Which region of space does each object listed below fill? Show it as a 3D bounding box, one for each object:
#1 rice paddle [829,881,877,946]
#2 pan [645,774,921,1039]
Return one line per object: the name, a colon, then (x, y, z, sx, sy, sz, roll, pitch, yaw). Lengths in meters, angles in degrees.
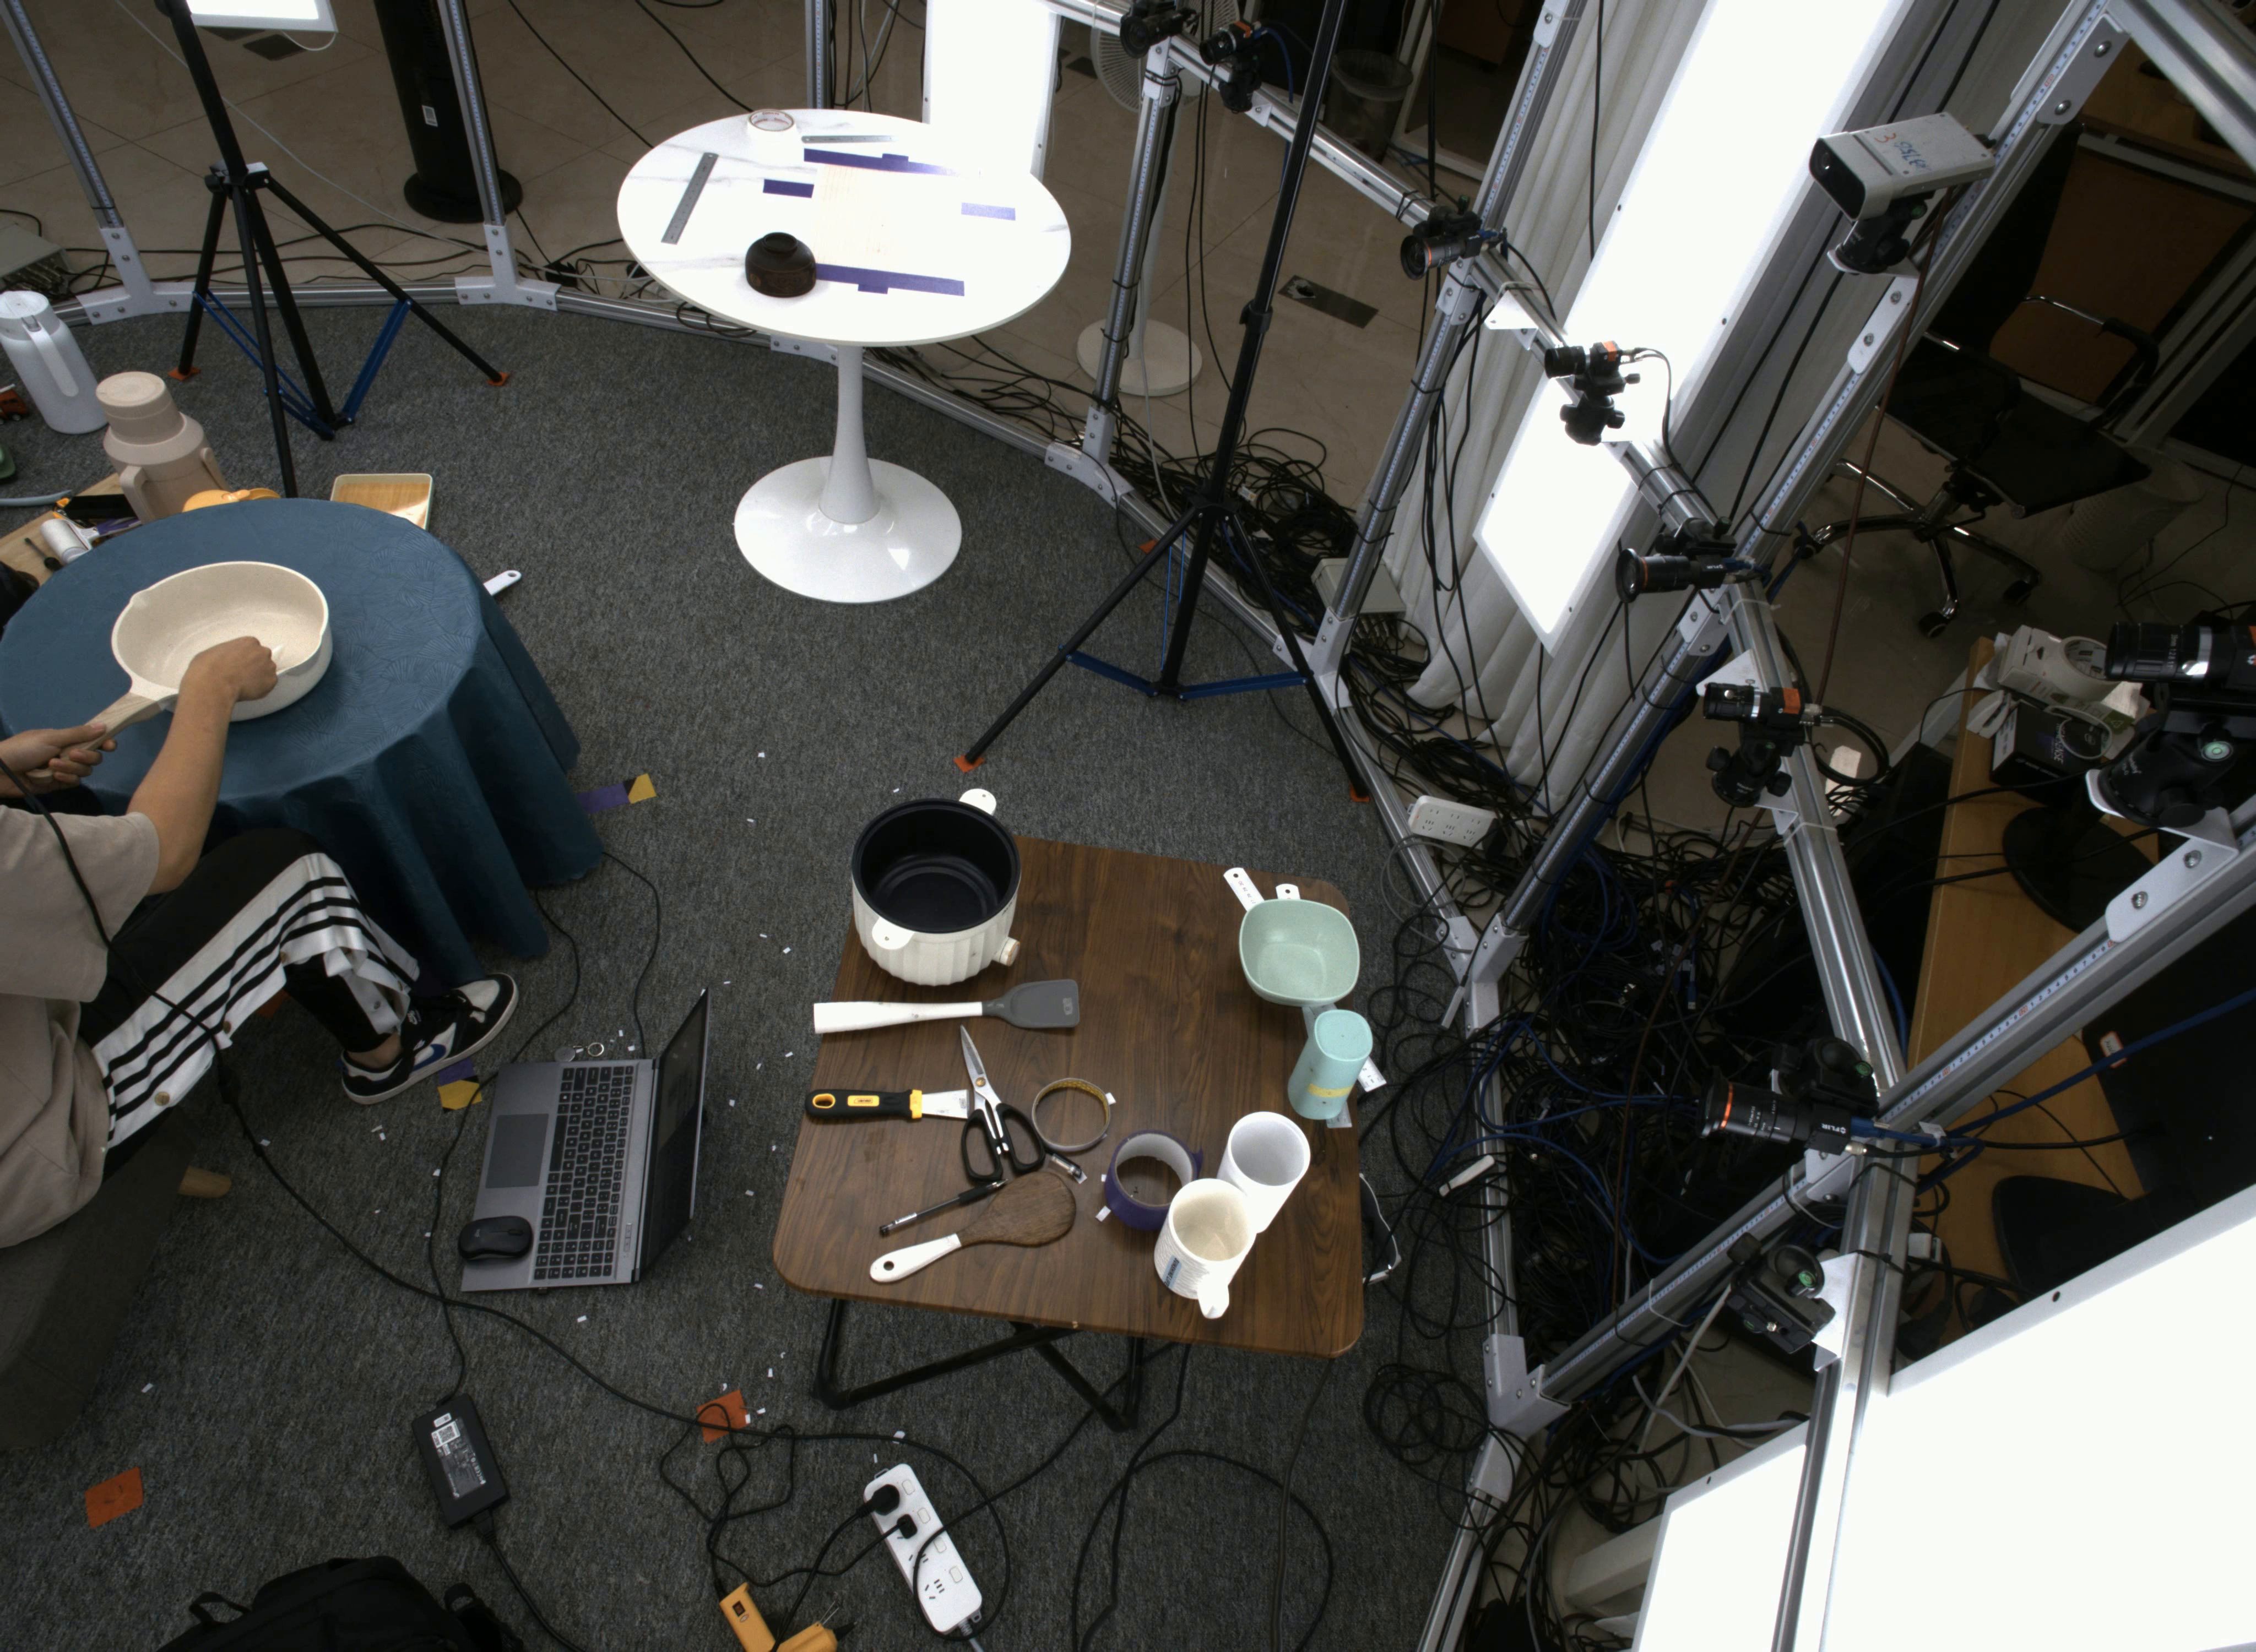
rice paddle: (-0.333, 0.098, 1.566, 0.068, 0.201, 0.030, -29, 106, -3)
pan: (-0.434, 0.111, 1.588, 0.259, 0.104, 0.433, 31, 54, 8)
